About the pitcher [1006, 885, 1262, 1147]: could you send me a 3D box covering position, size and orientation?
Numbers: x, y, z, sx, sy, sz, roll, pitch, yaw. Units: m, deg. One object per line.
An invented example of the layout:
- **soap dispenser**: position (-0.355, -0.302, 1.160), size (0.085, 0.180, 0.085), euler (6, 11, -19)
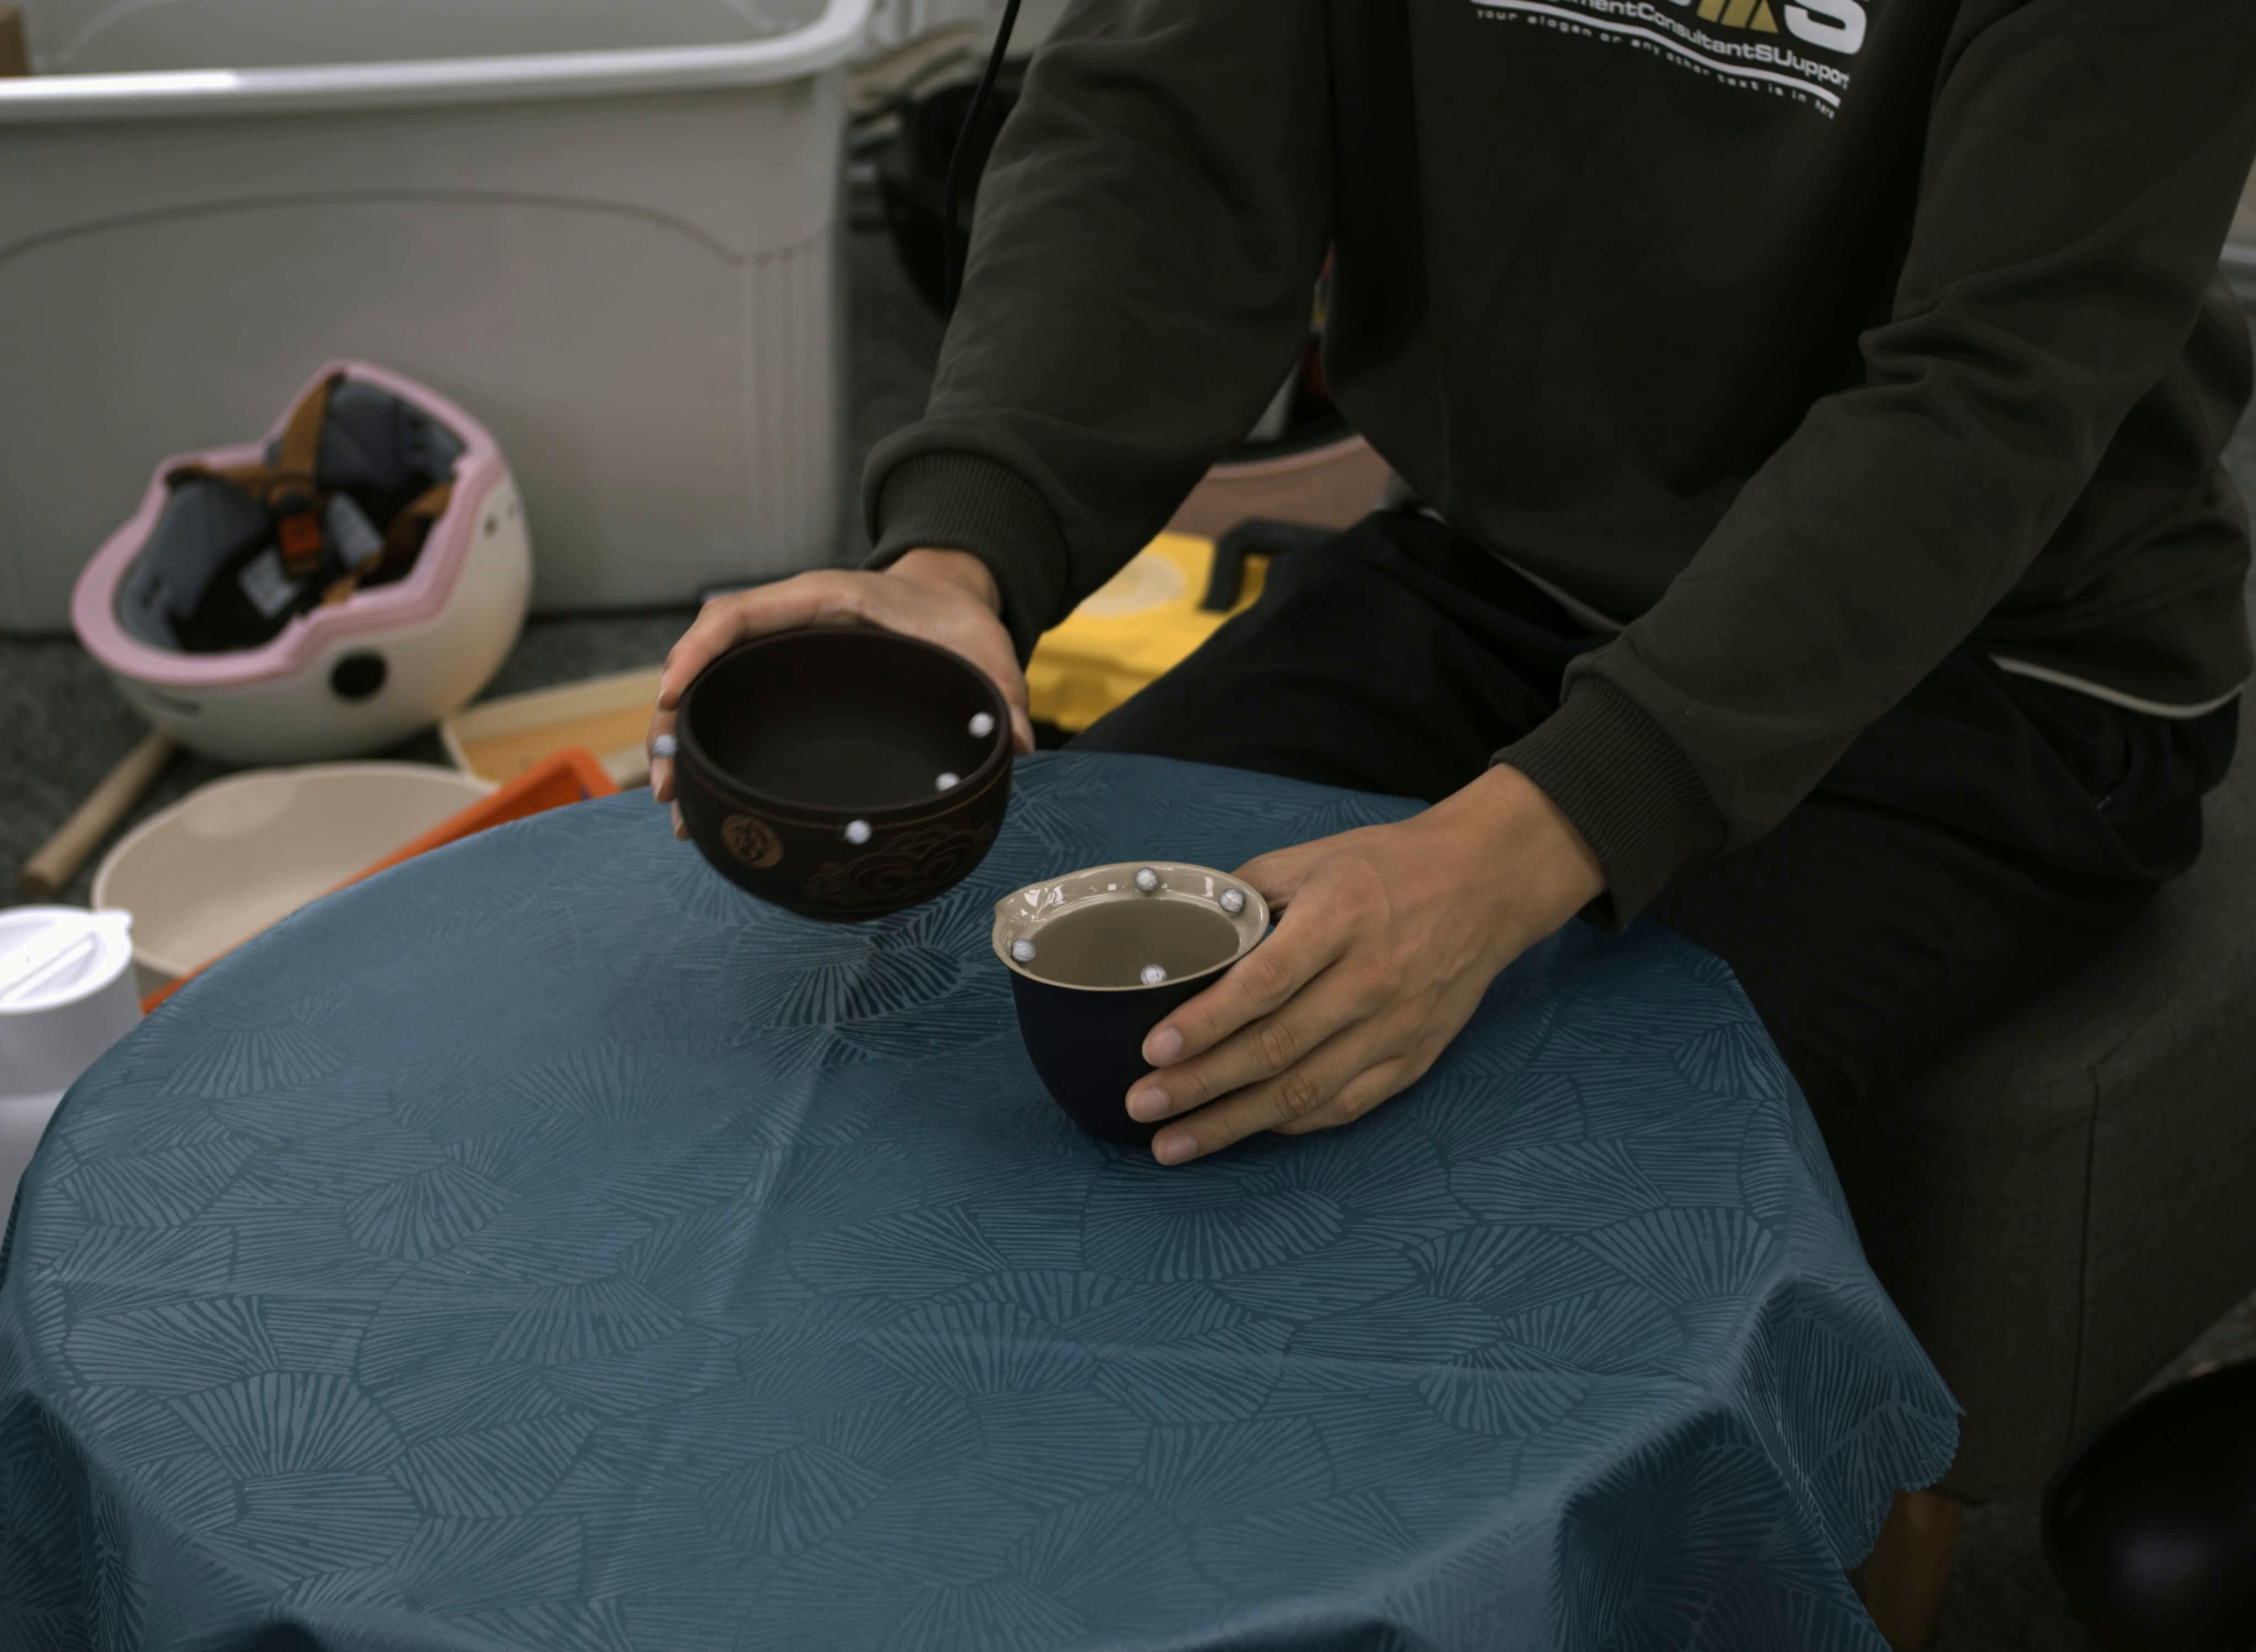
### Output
- **pitcher**: position (0.001, 0.064, 1.896), size (0.095, 0.070, 0.085), euler (16, 35, 38)

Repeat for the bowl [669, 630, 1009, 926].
- **bowl**: position (-0.101, -0.009, 1.952), size (0.117, 0.069, 0.120), euler (3, 32, -2)
